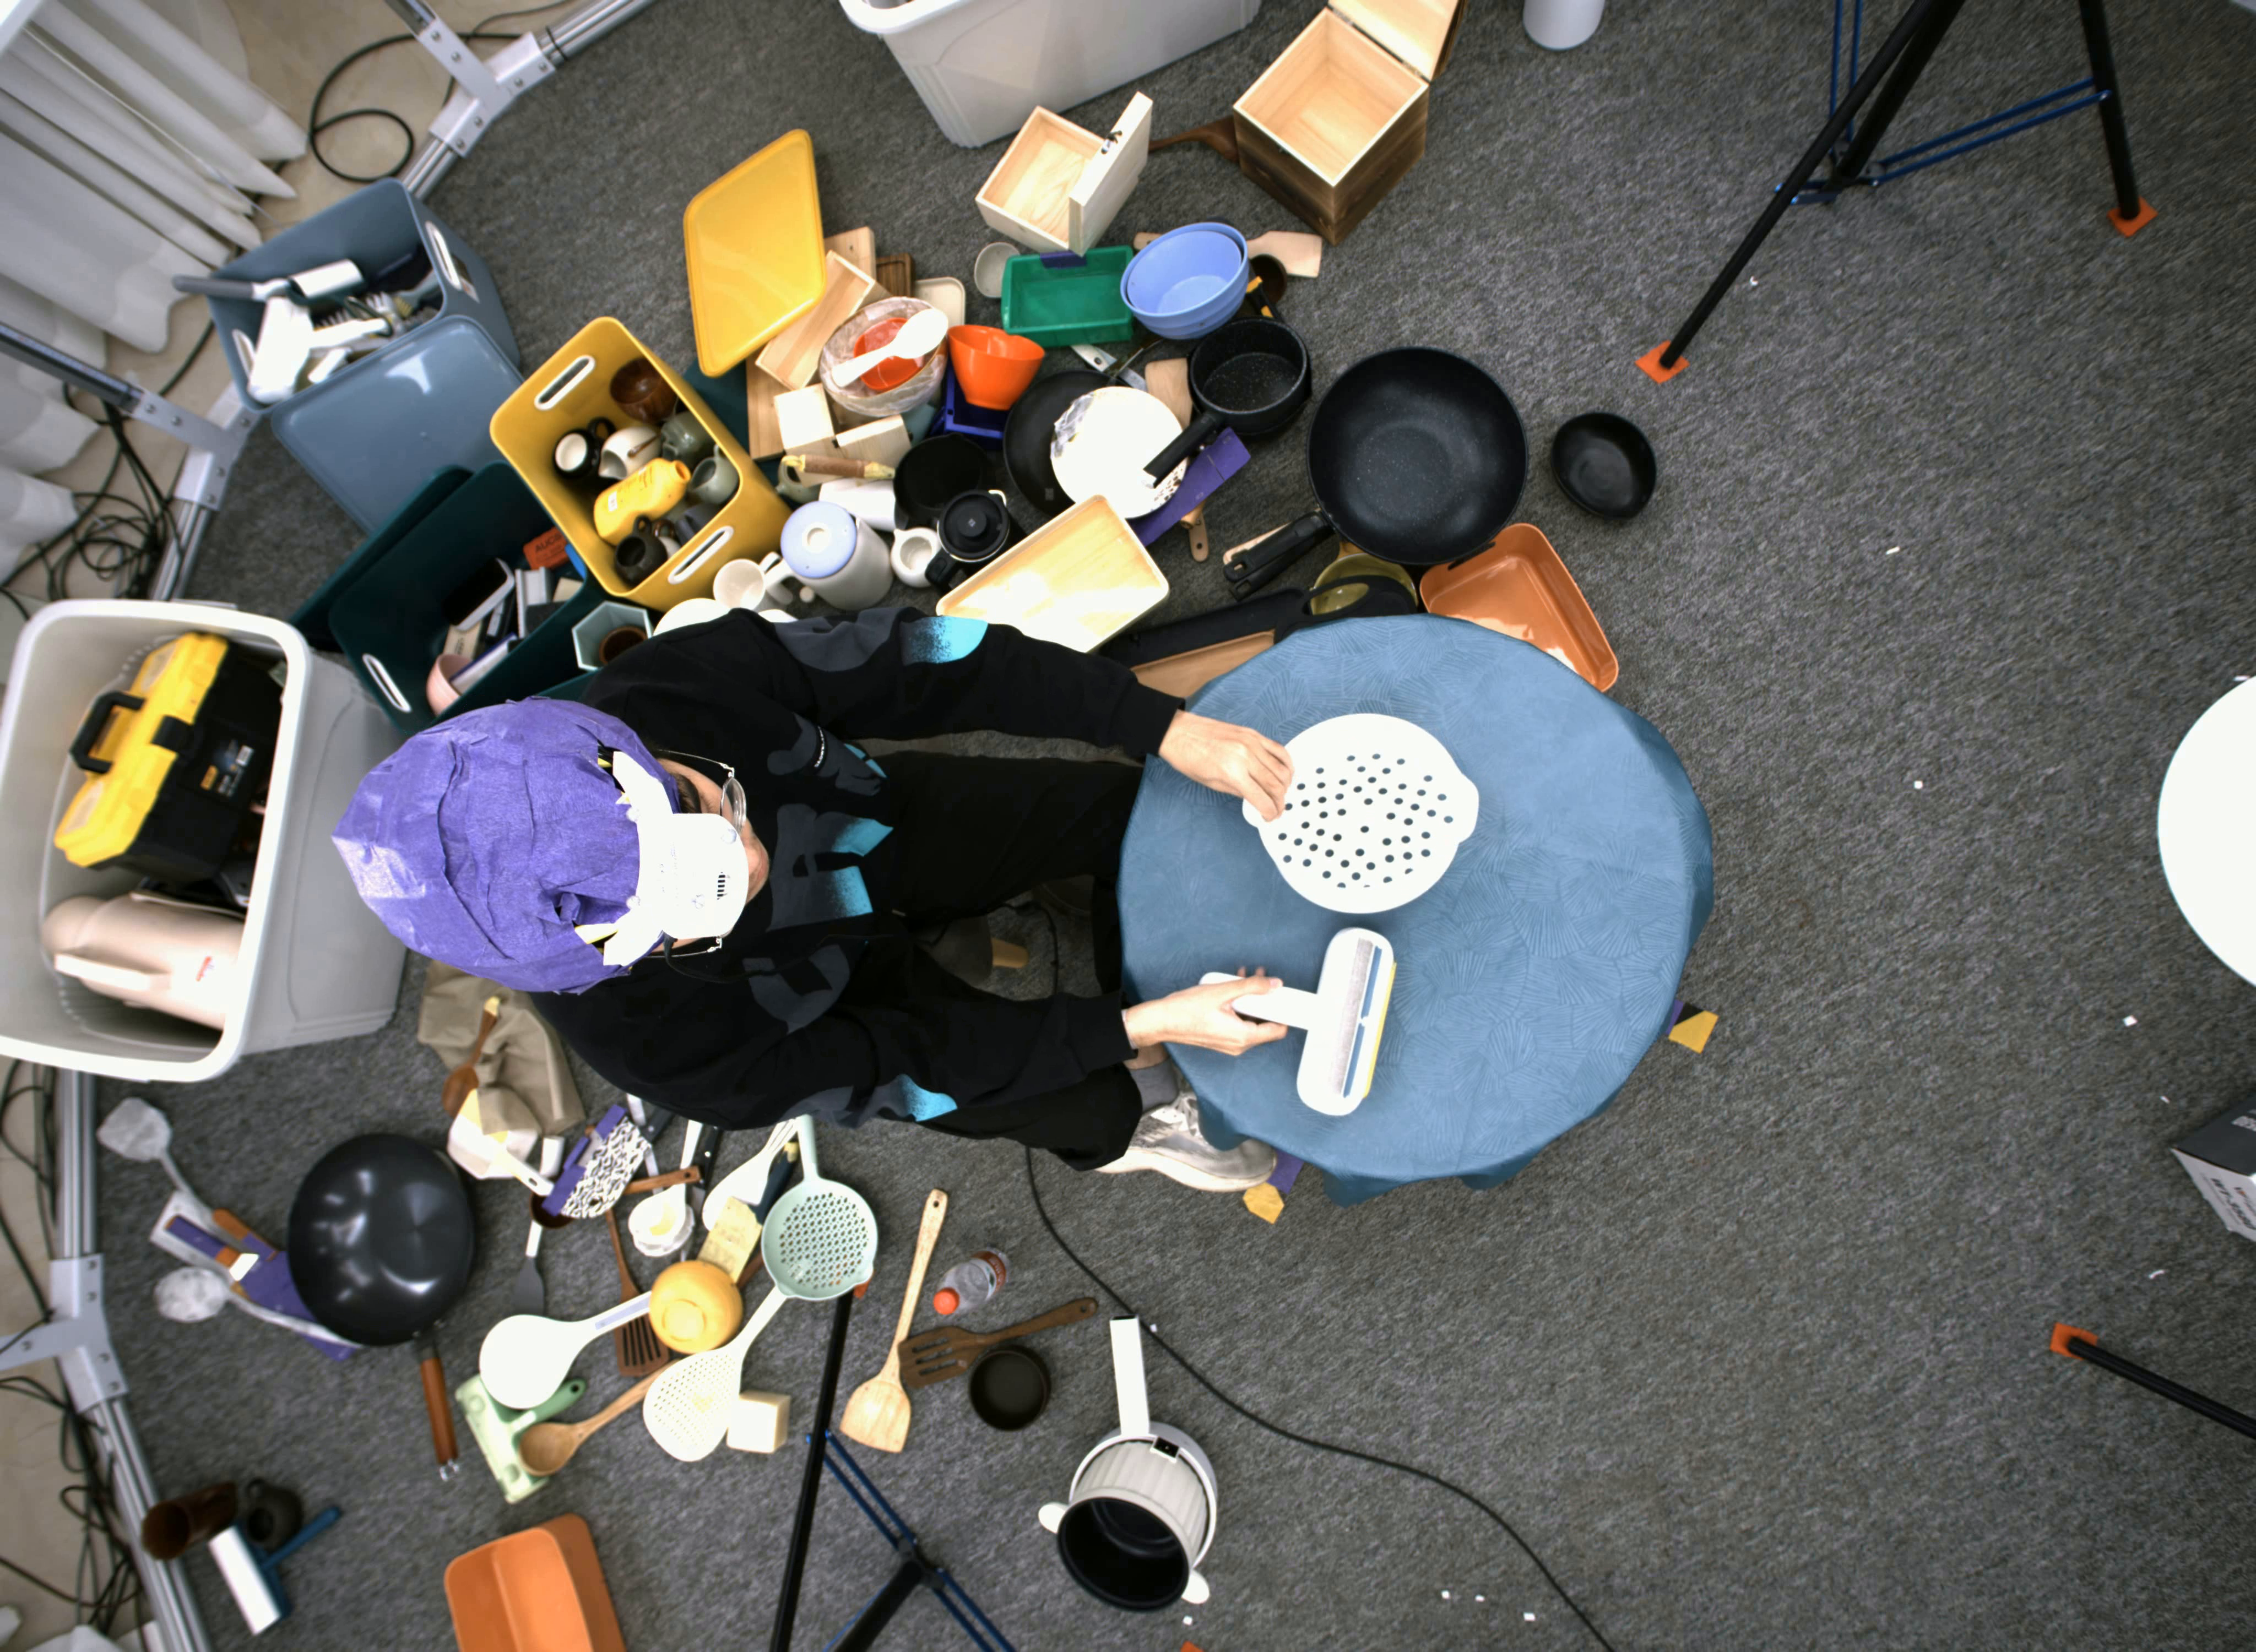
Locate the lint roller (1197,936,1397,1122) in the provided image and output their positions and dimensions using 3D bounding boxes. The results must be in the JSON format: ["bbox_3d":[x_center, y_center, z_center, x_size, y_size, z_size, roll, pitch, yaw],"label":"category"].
[{"bbox_3d":[0.164,0.187,1.421,0.192,0.074,0.191,19,83,1],"label":"lint roller"}]

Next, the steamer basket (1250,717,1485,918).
[{"bbox_3d":[0.239,-0.009,1.375,0.231,0.070,0.198,4,67,20],"label":"steamer basket"}]
